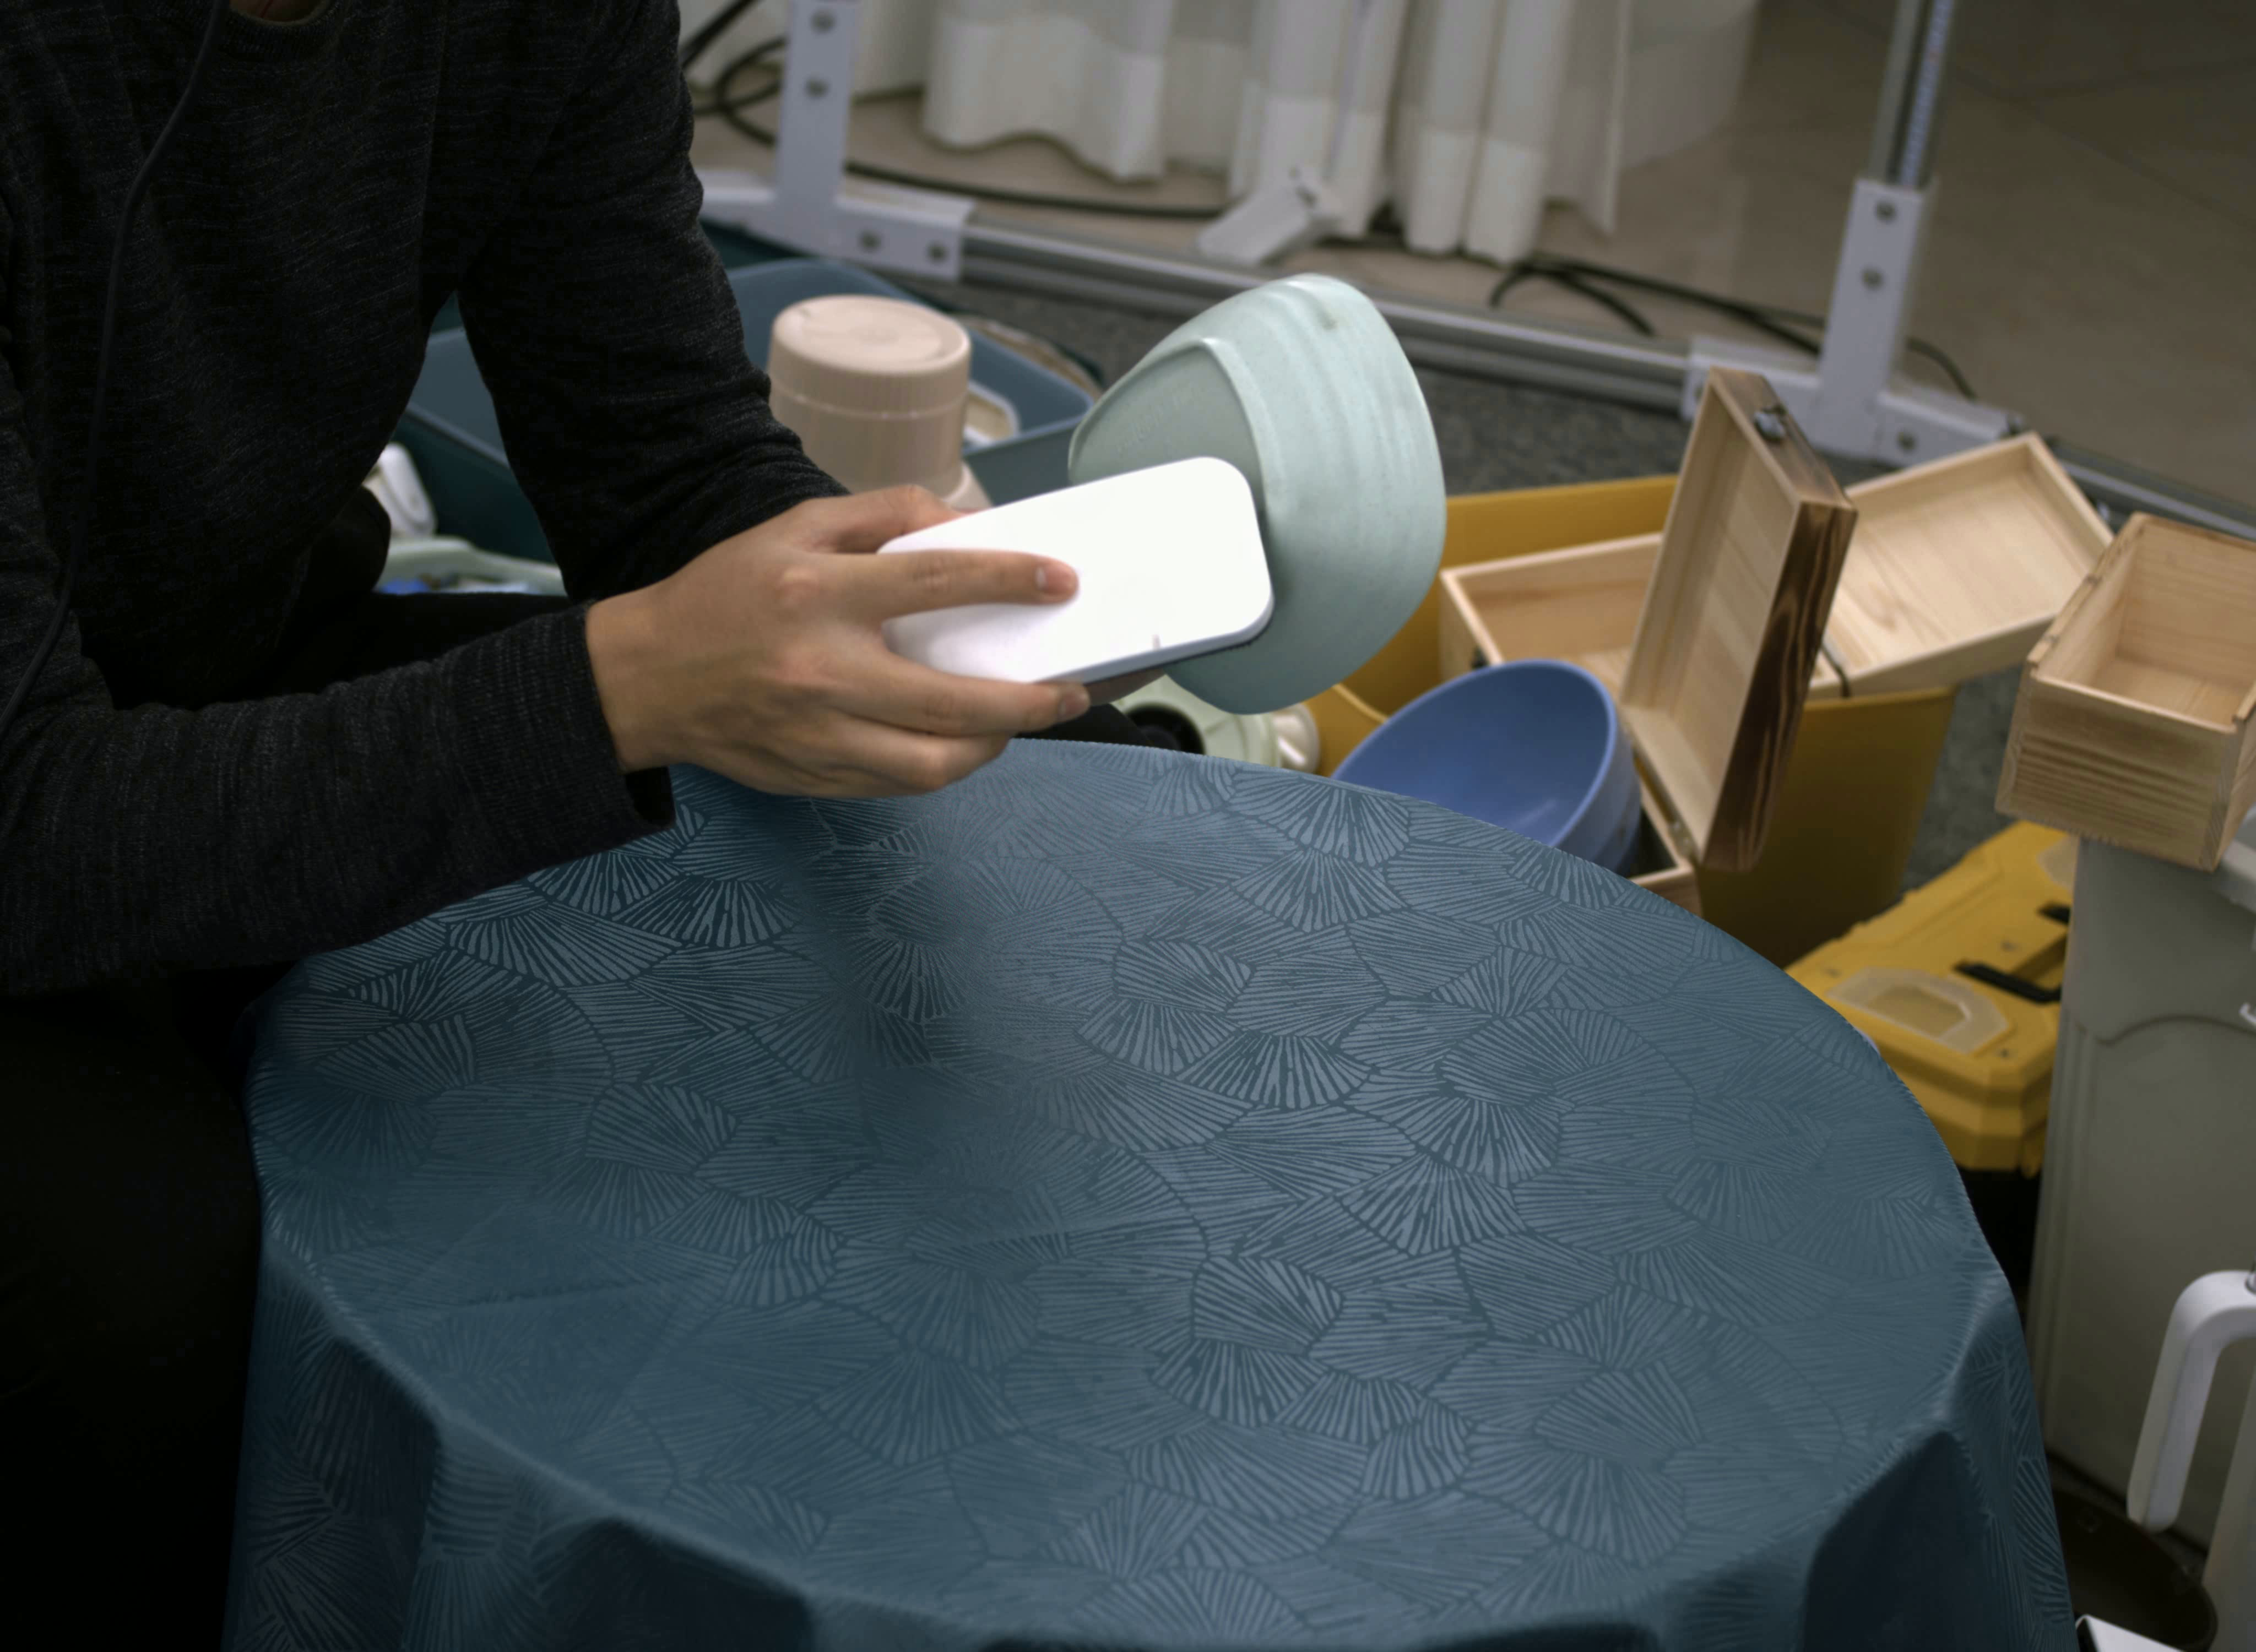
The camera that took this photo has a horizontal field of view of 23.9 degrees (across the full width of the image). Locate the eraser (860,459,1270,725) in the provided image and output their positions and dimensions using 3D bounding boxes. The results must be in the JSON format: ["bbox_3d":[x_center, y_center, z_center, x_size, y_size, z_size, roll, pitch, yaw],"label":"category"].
[{"bbox_3d":[-0.020,-0.076,1.713,0.131,0.064,0.034,-14,-19,9],"label":"eraser"}]

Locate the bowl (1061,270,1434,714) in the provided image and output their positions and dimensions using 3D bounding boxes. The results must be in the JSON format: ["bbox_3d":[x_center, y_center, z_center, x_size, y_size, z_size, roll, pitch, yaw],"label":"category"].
[{"bbox_3d":[0.030,-0.112,1.768,0.058,0.151,0.153,2,23,-43],"label":"bowl"}]
